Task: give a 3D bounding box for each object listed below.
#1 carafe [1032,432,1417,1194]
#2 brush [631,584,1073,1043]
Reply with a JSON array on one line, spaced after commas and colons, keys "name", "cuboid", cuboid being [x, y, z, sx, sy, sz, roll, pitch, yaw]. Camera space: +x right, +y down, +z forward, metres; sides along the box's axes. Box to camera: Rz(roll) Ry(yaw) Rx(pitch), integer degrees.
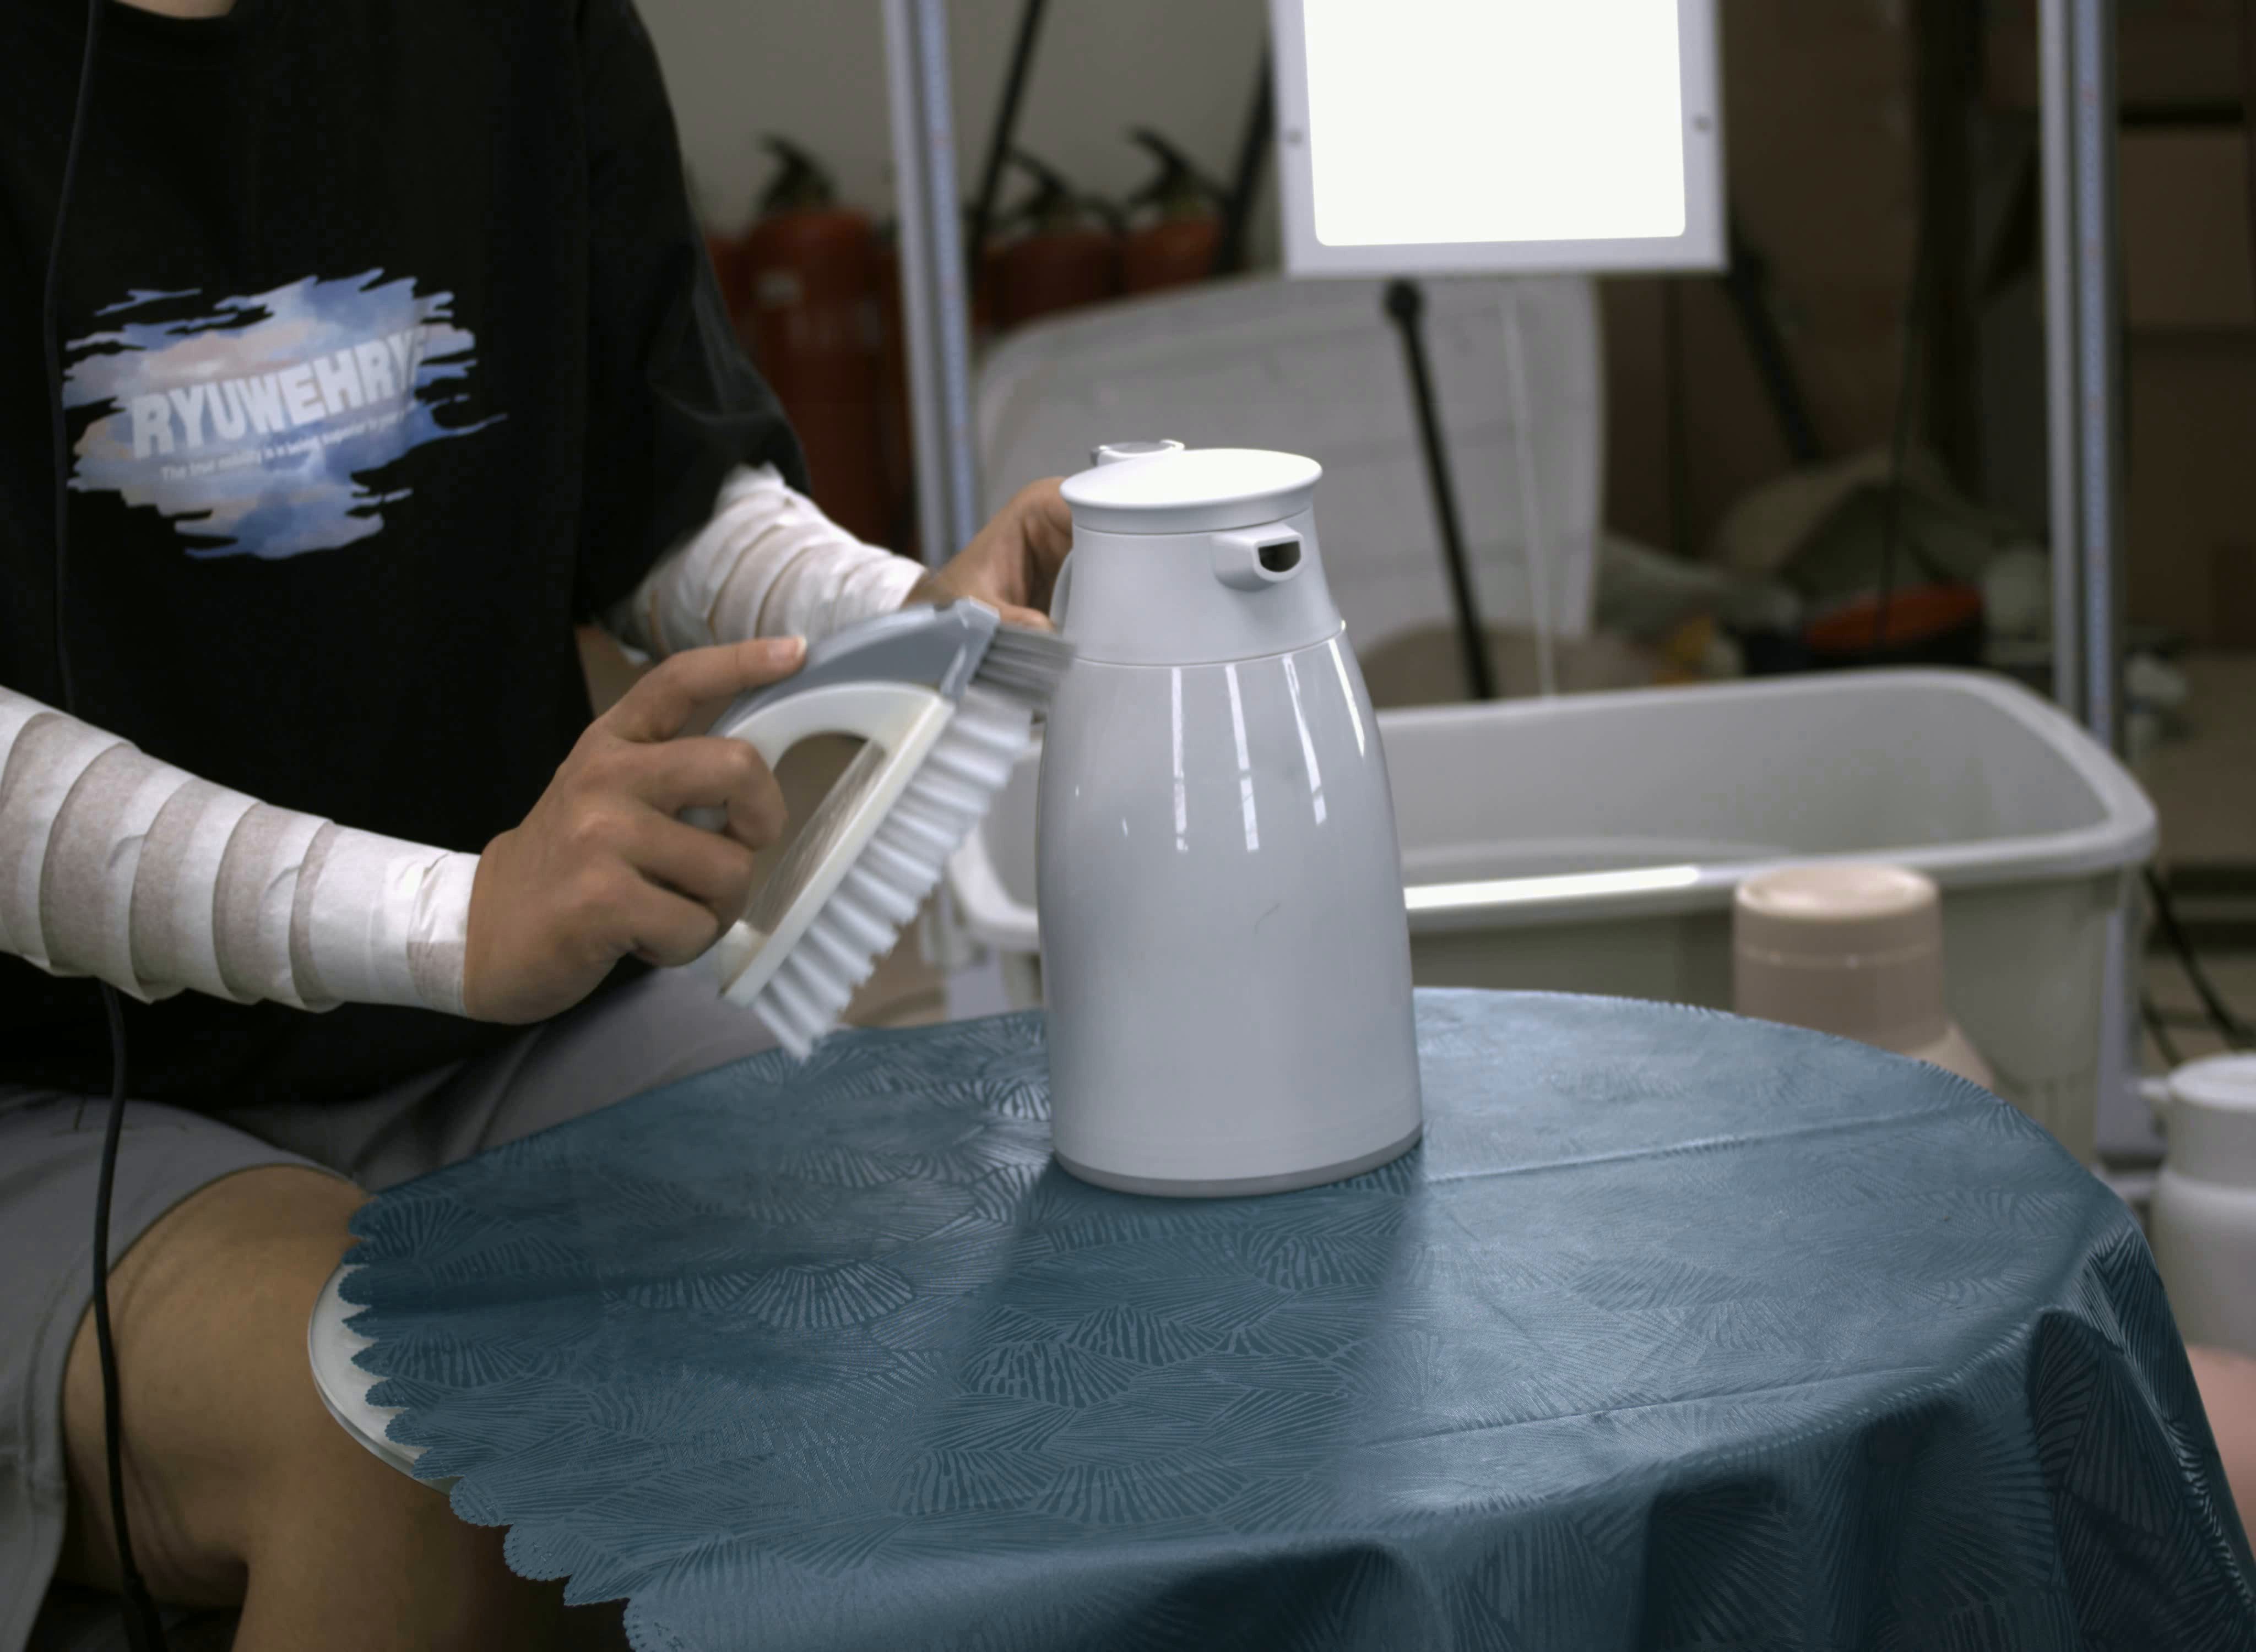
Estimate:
[{"name": "carafe", "cuboid": [0.019, -0.013, 1.933, 0.130, 0.249, 0.170, -11, 15, -26]}, {"name": "brush", "cuboid": [-0.100, -0.019, 1.843, 0.093, 0.178, 0.061, 30, 24, -18]}]
